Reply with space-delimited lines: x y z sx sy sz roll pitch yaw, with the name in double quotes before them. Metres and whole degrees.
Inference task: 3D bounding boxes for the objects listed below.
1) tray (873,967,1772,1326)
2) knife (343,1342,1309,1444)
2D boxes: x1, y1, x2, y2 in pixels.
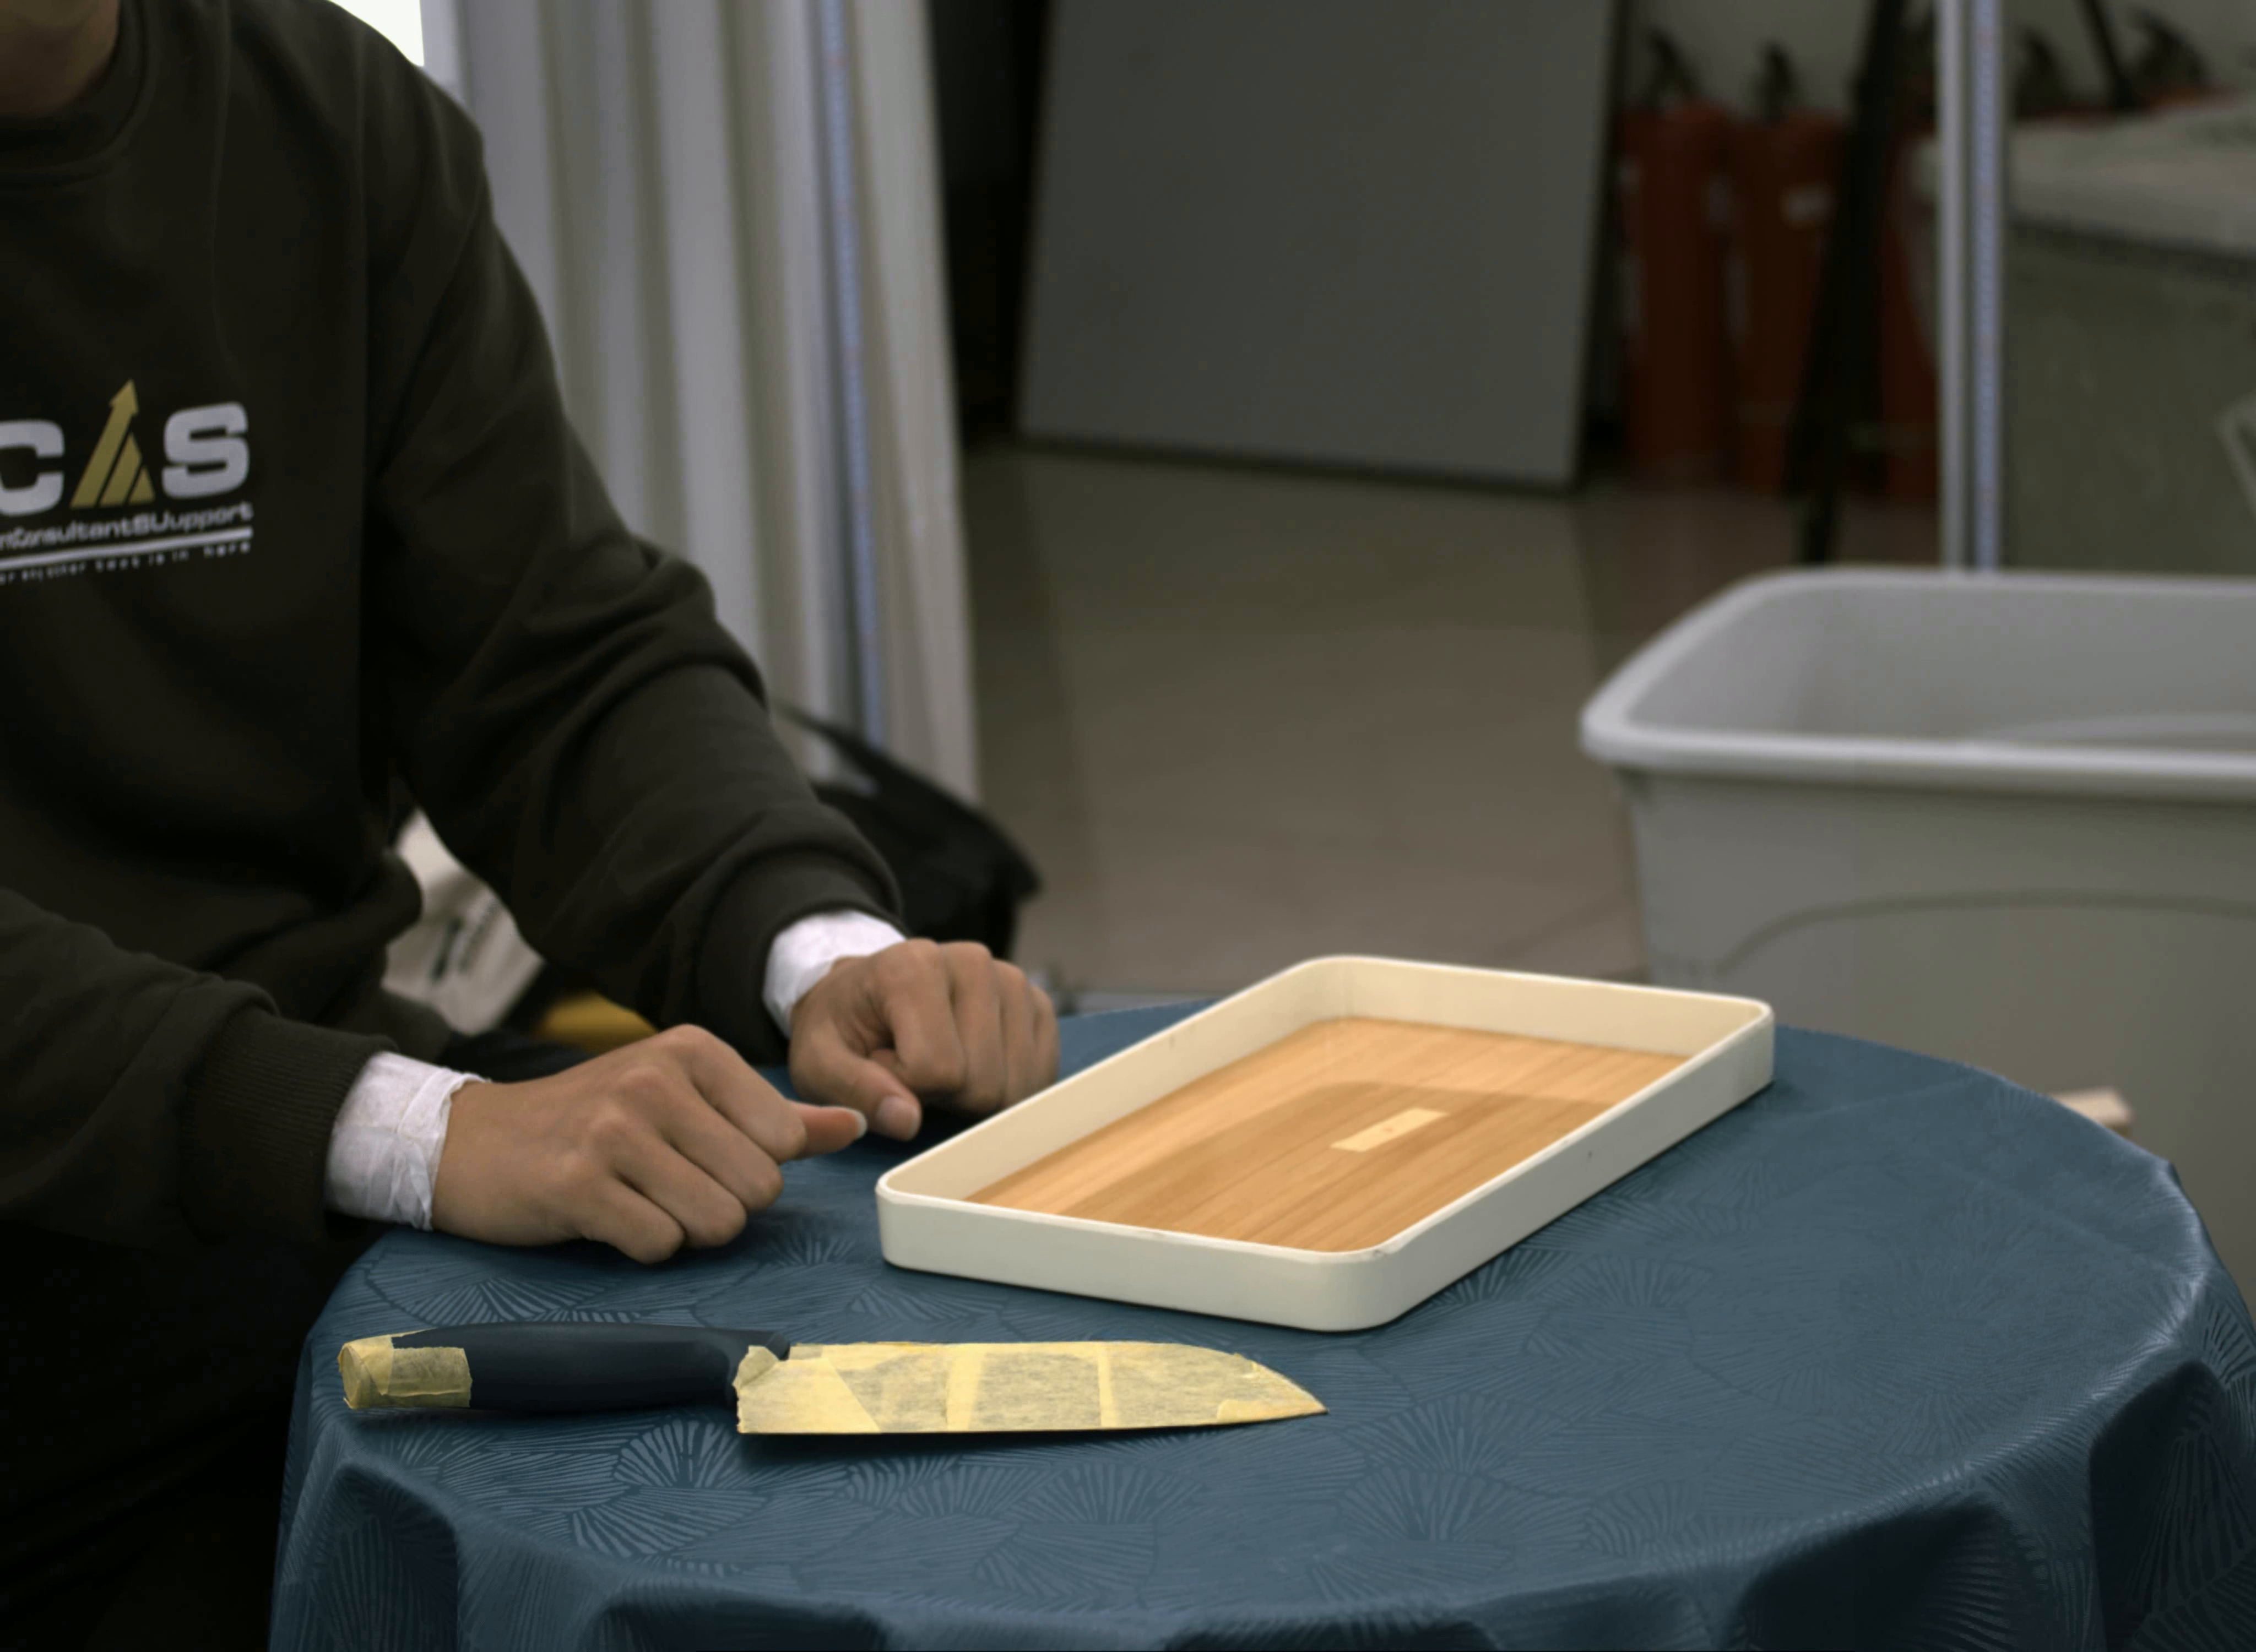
"tray" 0.070 0.101 1.780 0.192 0.028 0.295 4 15 34
"knife" -0.089 0.167 1.581 0.286 0.027 0.081 -2 11 3
